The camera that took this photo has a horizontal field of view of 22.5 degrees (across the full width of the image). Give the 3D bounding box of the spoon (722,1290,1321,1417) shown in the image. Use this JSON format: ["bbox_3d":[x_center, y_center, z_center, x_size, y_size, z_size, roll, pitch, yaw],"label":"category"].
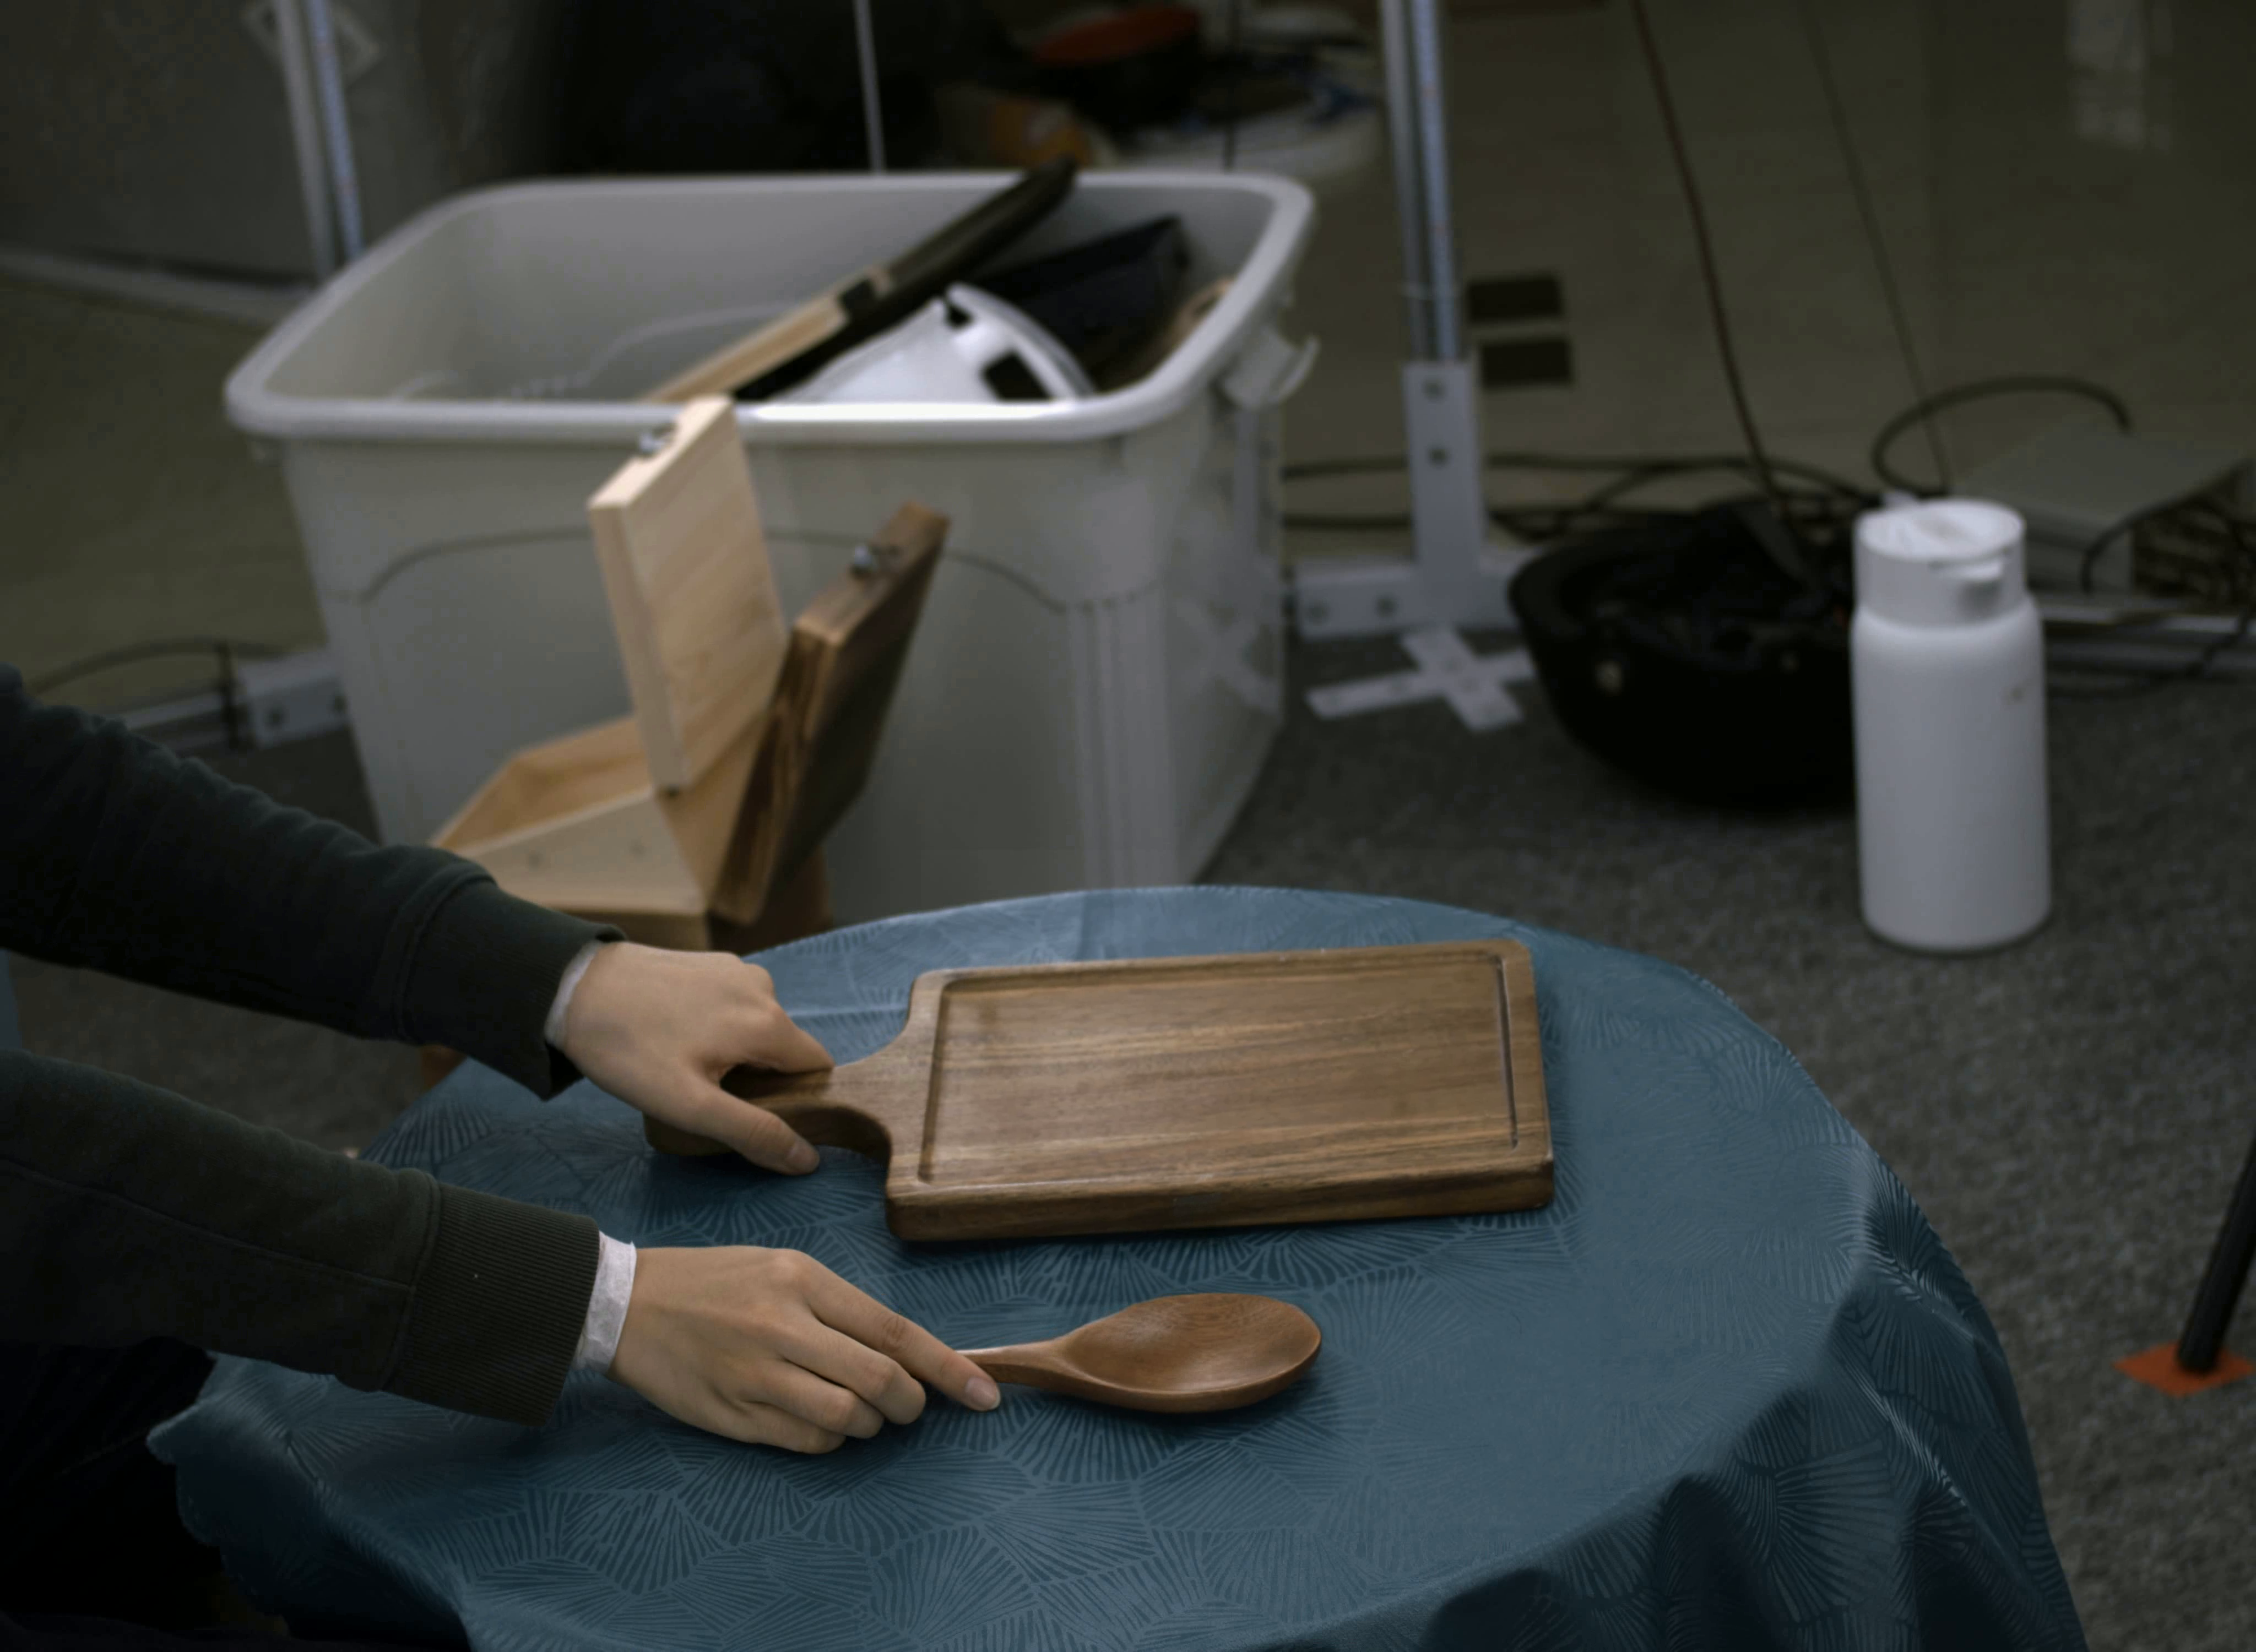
[{"bbox_3d":[-0.038,0.192,2.025,0.215,0.017,0.074,-2,27,6],"label":"spoon"}]

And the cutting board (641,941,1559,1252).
[{"bbox_3d":[-0.013,0.105,2.197,0.351,0.023,0.198,-3,26,3],"label":"cutting board"}]
